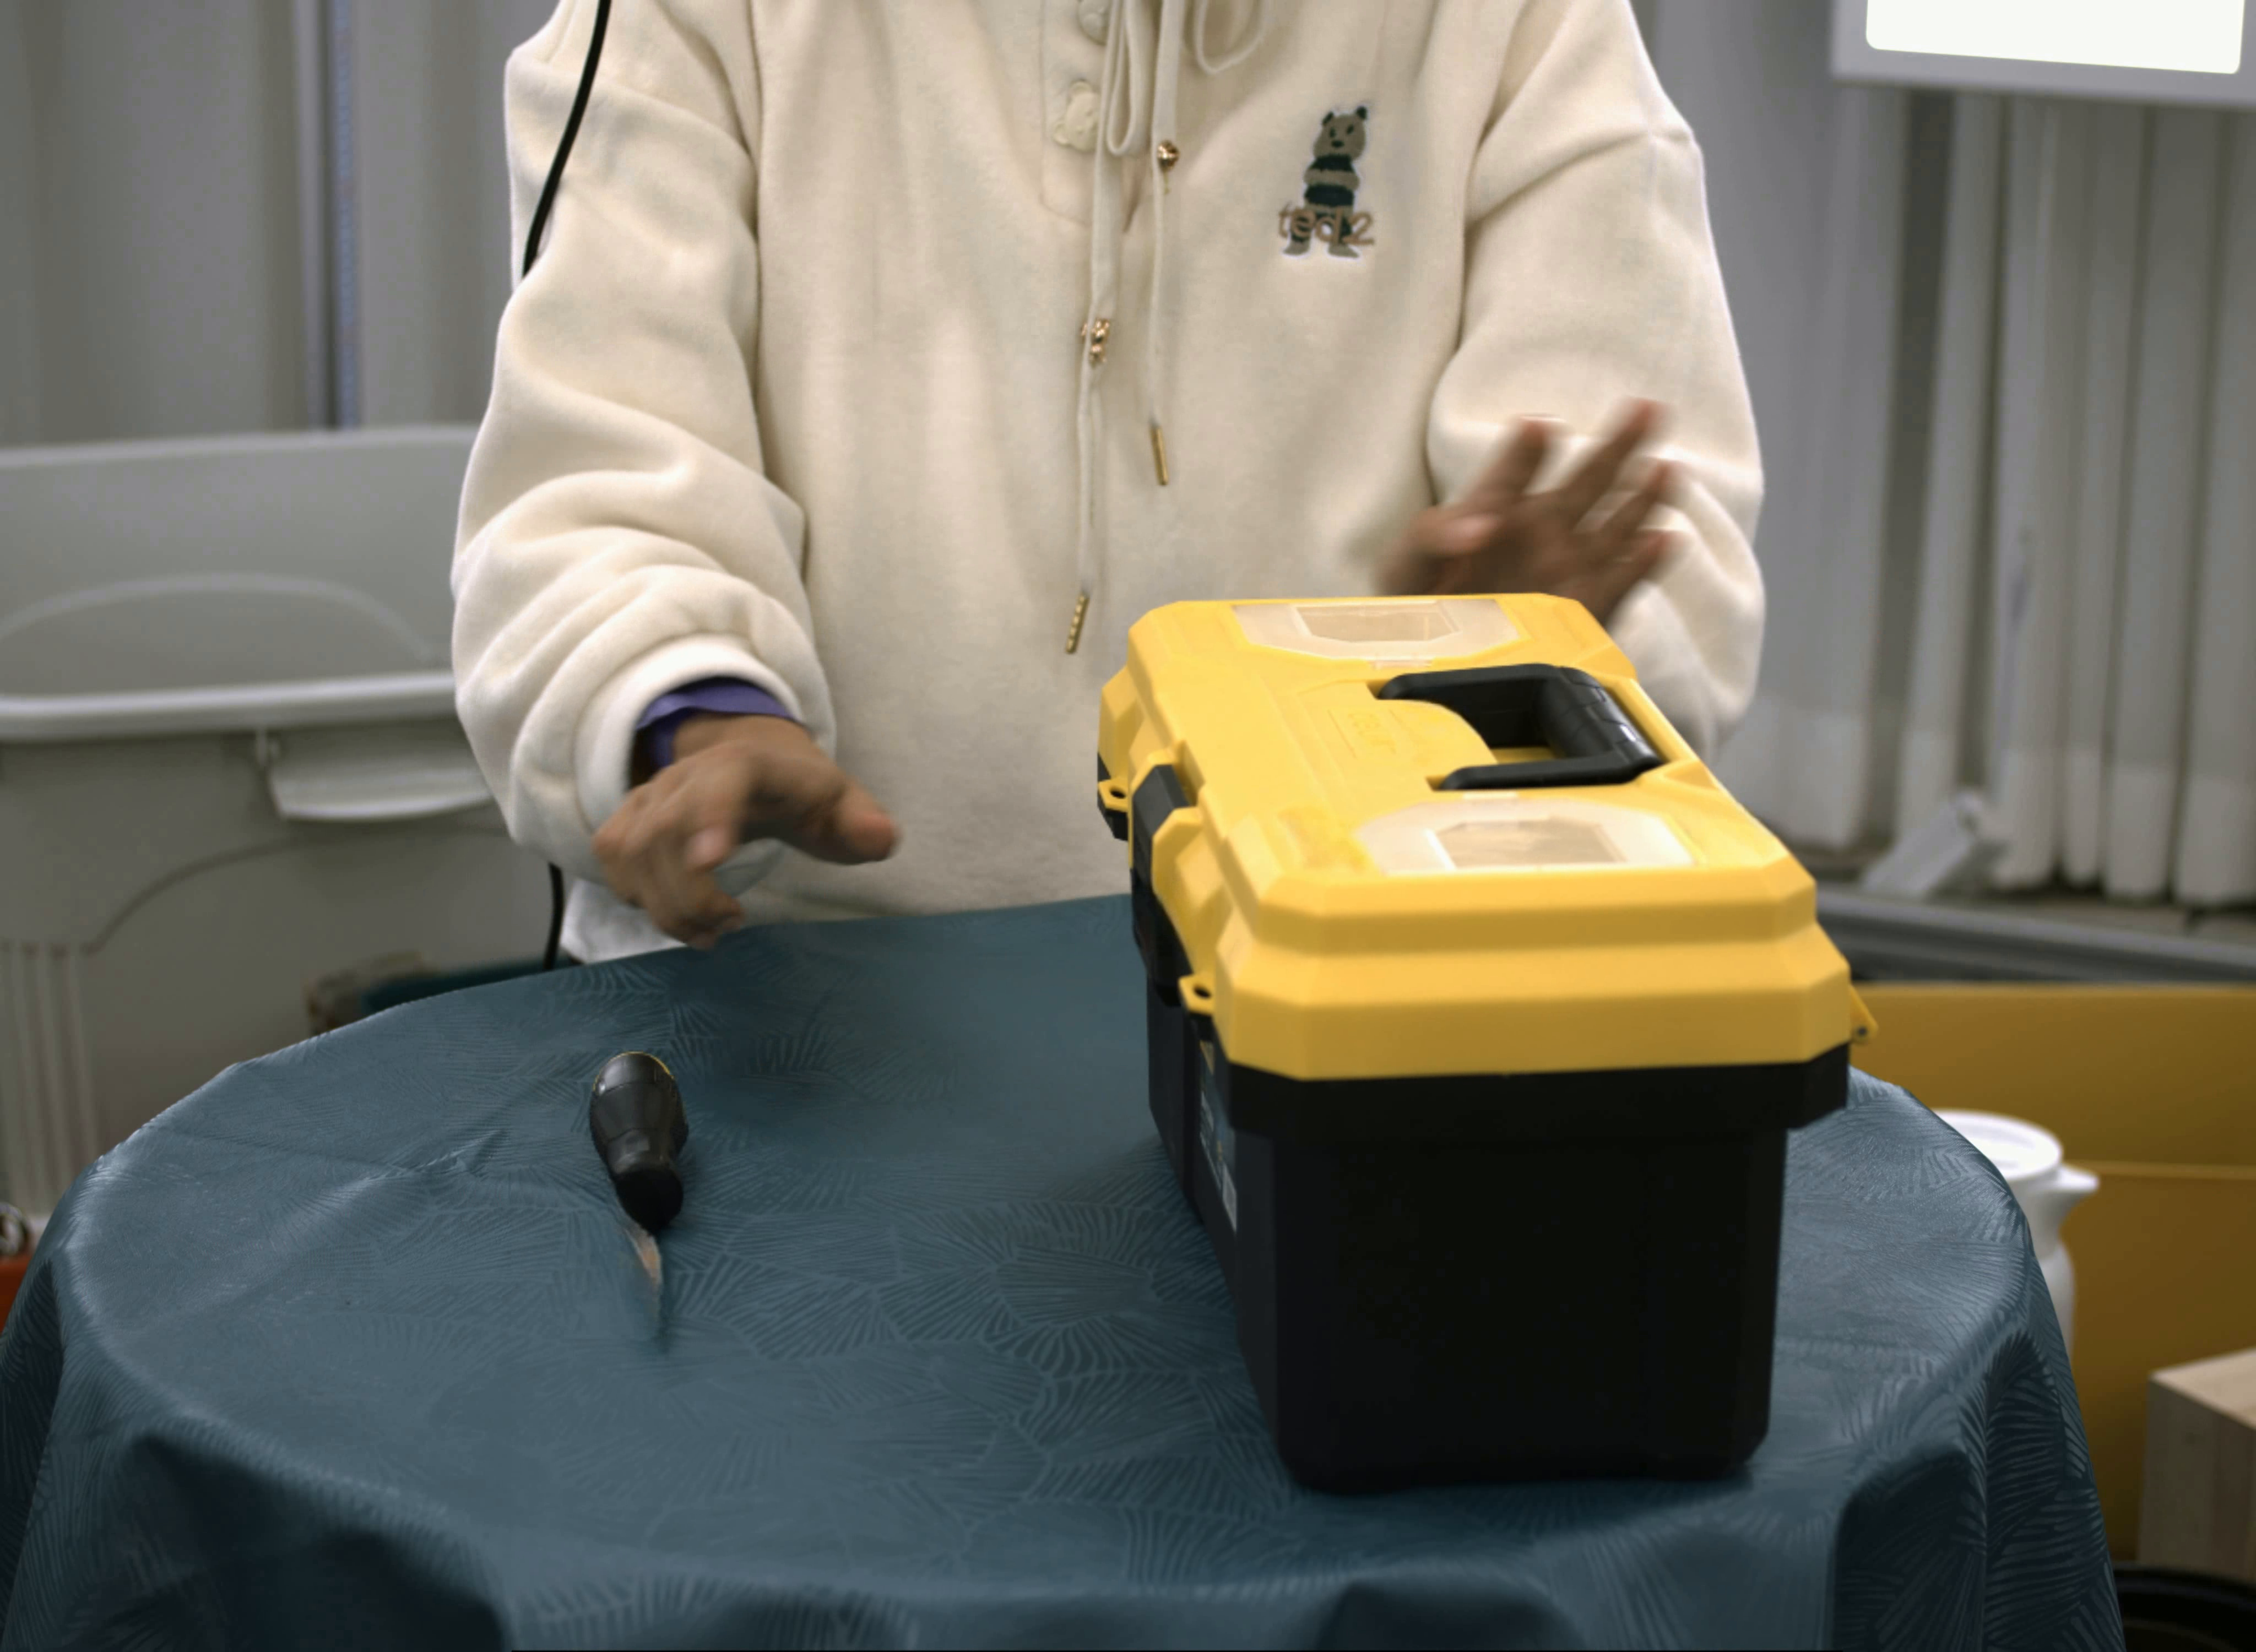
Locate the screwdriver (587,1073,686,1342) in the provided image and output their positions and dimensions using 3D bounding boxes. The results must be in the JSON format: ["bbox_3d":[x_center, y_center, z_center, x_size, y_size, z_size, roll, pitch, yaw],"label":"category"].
[{"bbox_3d":[-0.146,0.118,1.578,0.031,0.032,0.196,-1,20,-6],"label":"screwdriver"}]

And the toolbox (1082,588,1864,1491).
[{"bbox_3d":[0.090,0.051,1.517,0.181,0.174,0.349,-1,16,-6],"label":"toolbox"}]
